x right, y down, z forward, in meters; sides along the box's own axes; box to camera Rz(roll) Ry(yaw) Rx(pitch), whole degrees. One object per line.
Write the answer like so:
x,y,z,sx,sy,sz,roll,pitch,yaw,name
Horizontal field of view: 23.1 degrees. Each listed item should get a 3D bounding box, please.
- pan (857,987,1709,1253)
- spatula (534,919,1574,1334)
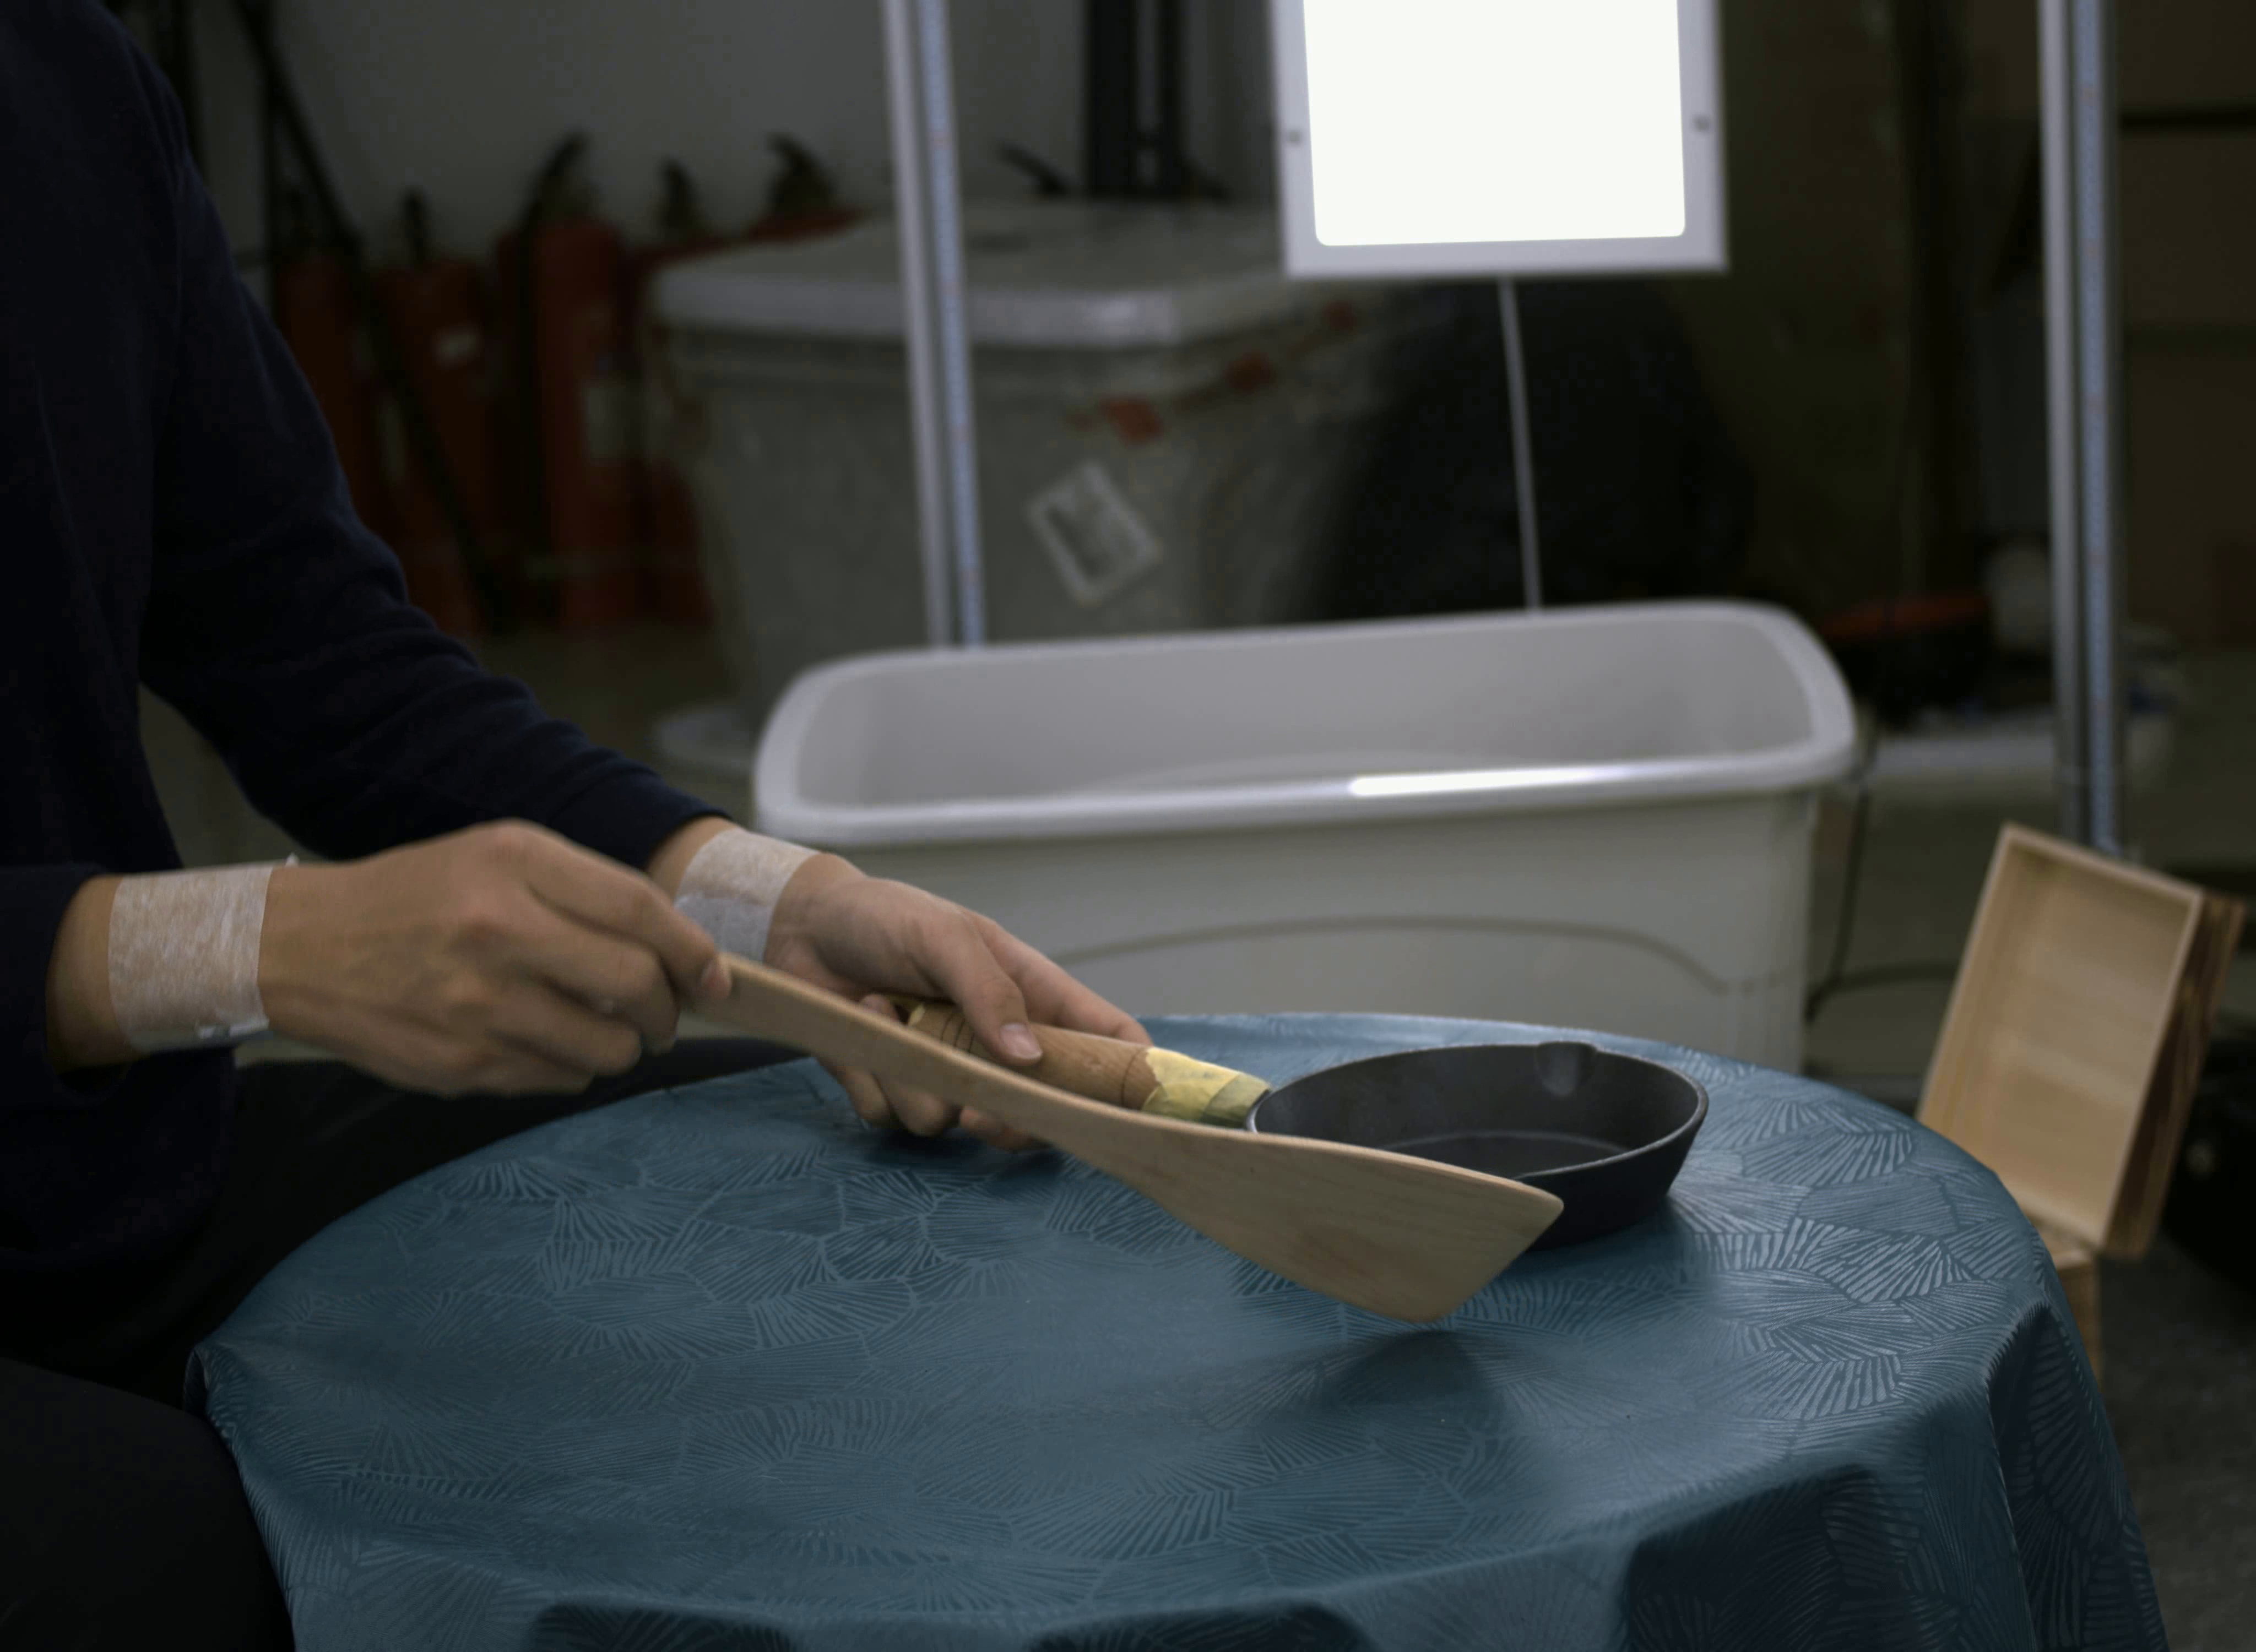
0.046,0.096,1.897,0.330,0.050,0.165,6,17,33,pan
-0.027,0.087,1.689,0.326,0.081,0.016,20,45,-4,spatula
